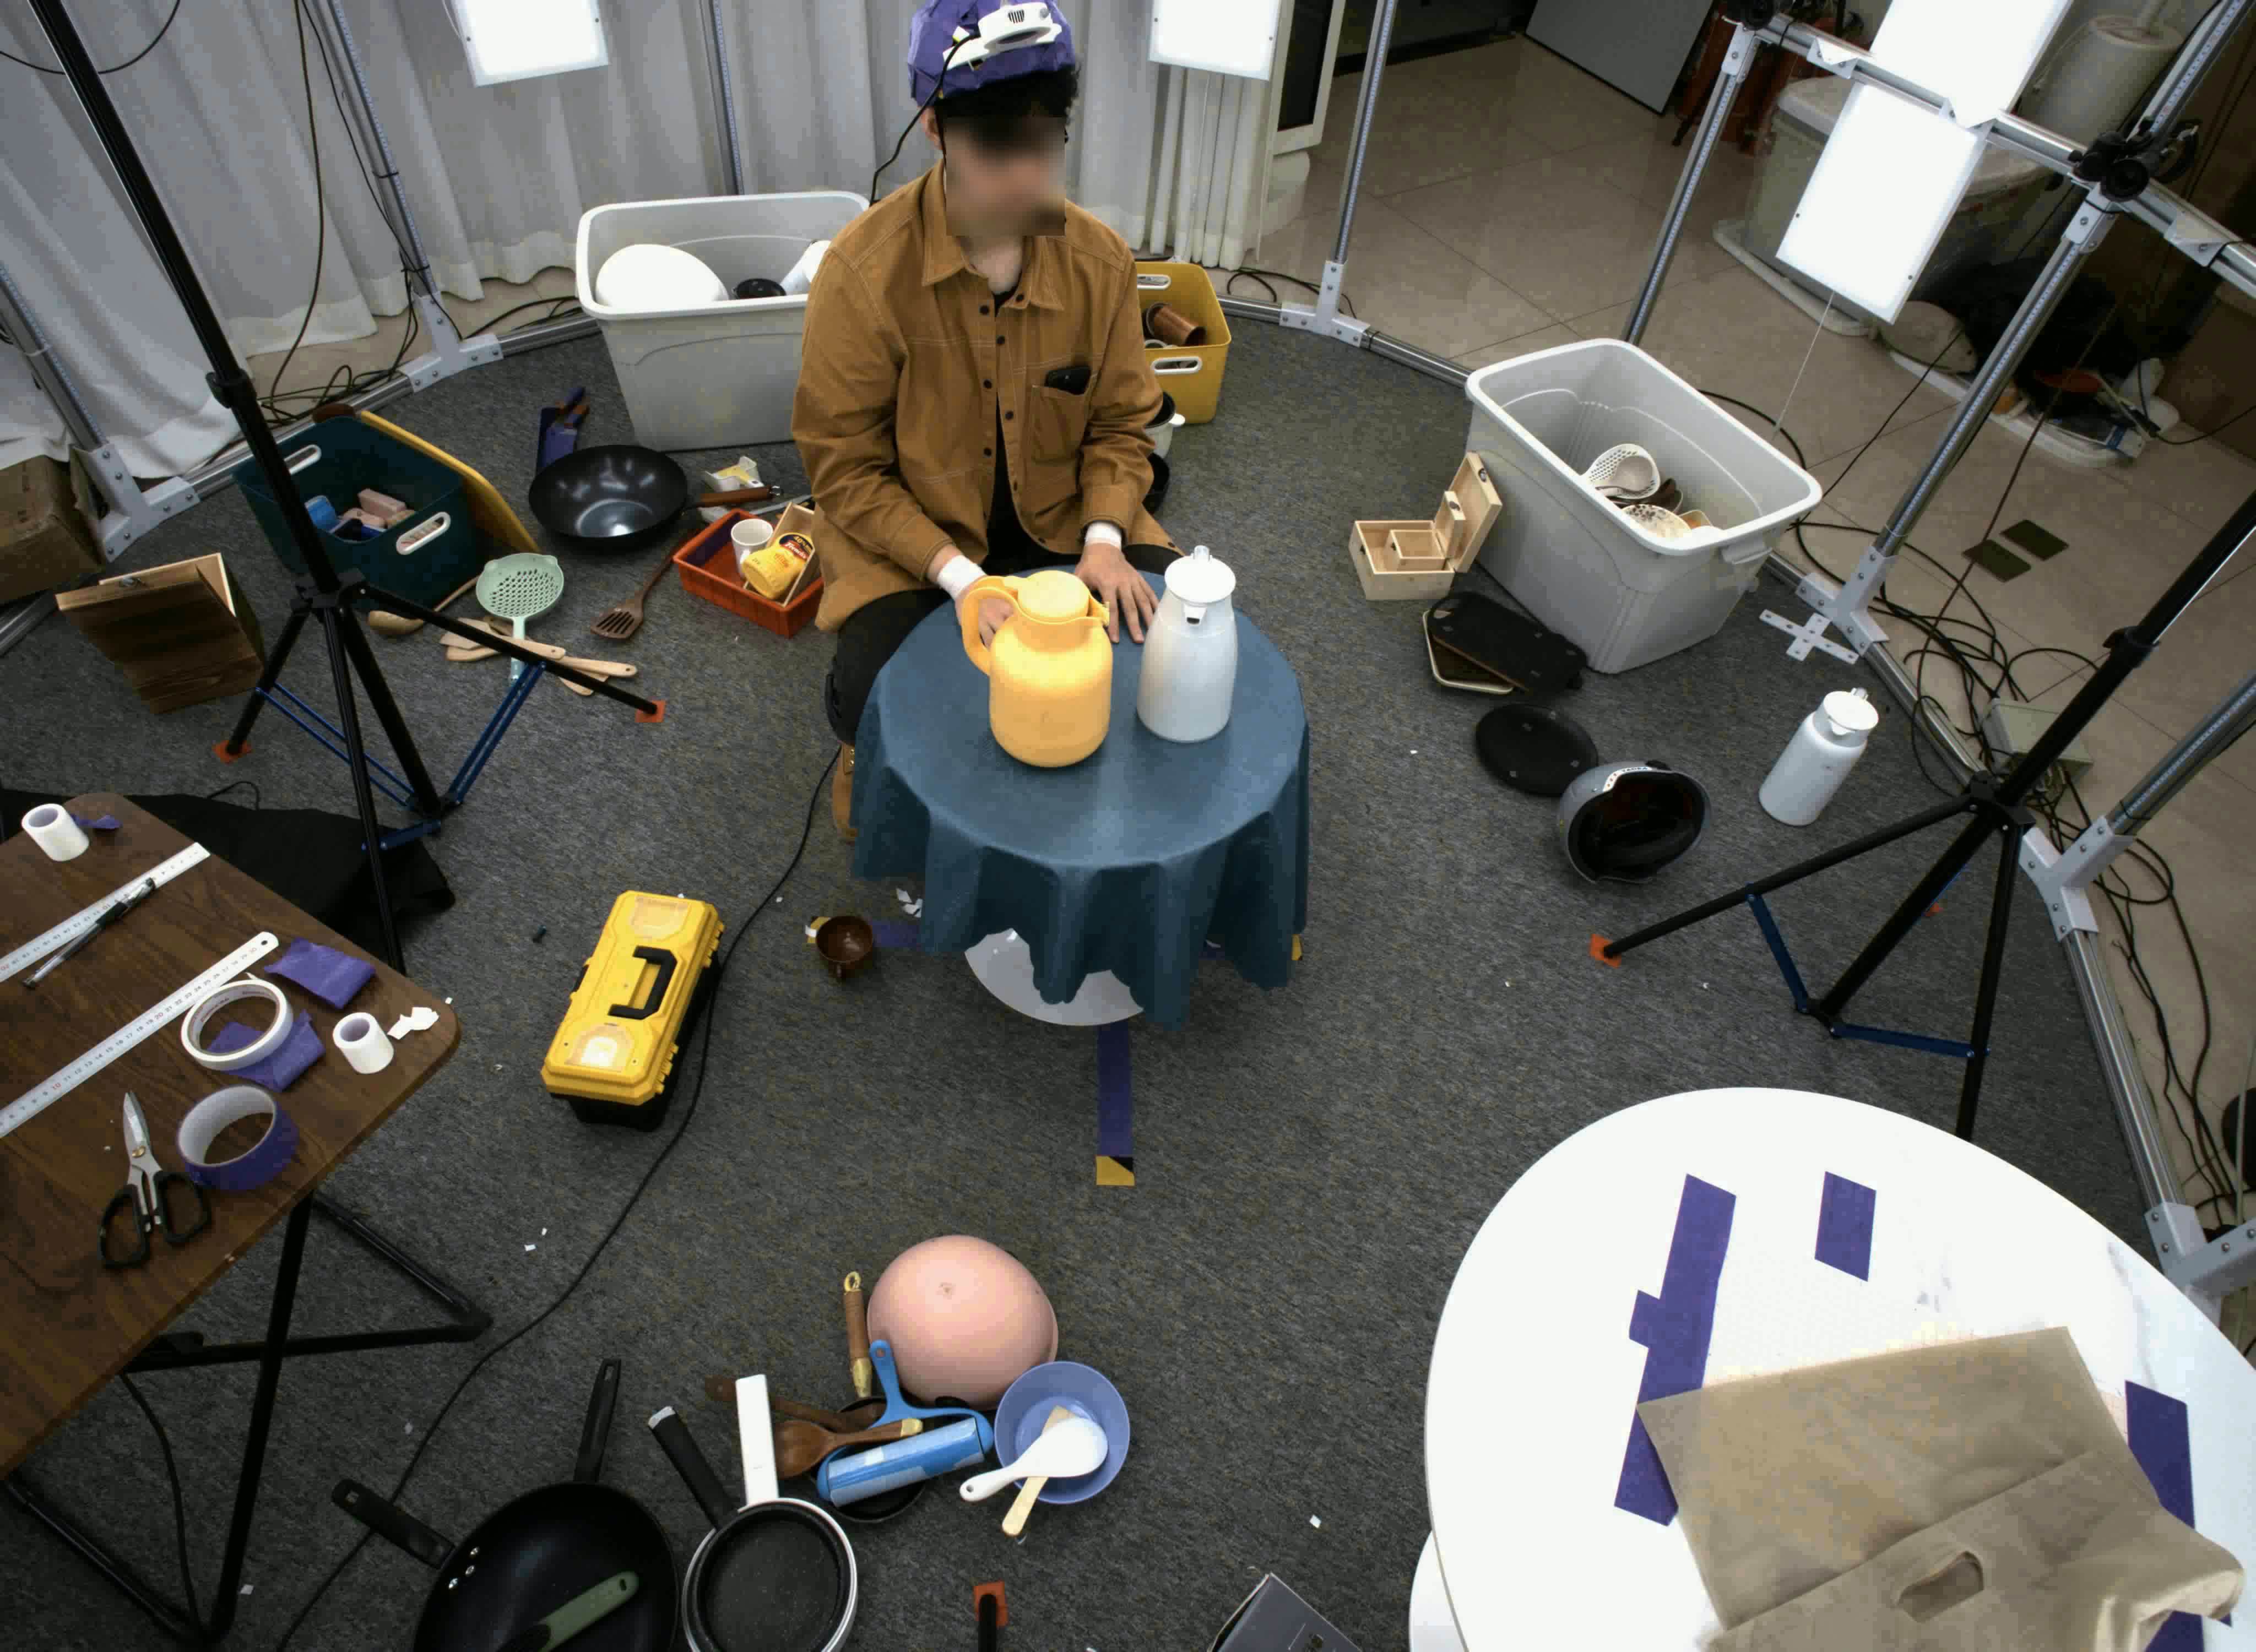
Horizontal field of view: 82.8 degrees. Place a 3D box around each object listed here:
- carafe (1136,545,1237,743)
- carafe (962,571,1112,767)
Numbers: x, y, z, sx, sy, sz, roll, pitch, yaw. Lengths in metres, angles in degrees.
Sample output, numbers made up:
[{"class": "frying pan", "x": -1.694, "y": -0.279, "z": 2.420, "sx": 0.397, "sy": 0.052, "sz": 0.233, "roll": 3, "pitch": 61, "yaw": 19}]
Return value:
[{"class": "carafe", "x": 0.086, "y": -0.258, "z": 1.738, "sx": 0.132, "sy": 0.242, "sz": 0.172, "roll": 8, "pitch": 49, "yaw": 3}, {"class": "carafe", "x": -0.119, "y": -0.217, "z": 1.683, "sx": 0.203, "sy": 0.254, "sz": 0.166, "roll": 21, "pitch": 49, "yaw": 12}]
